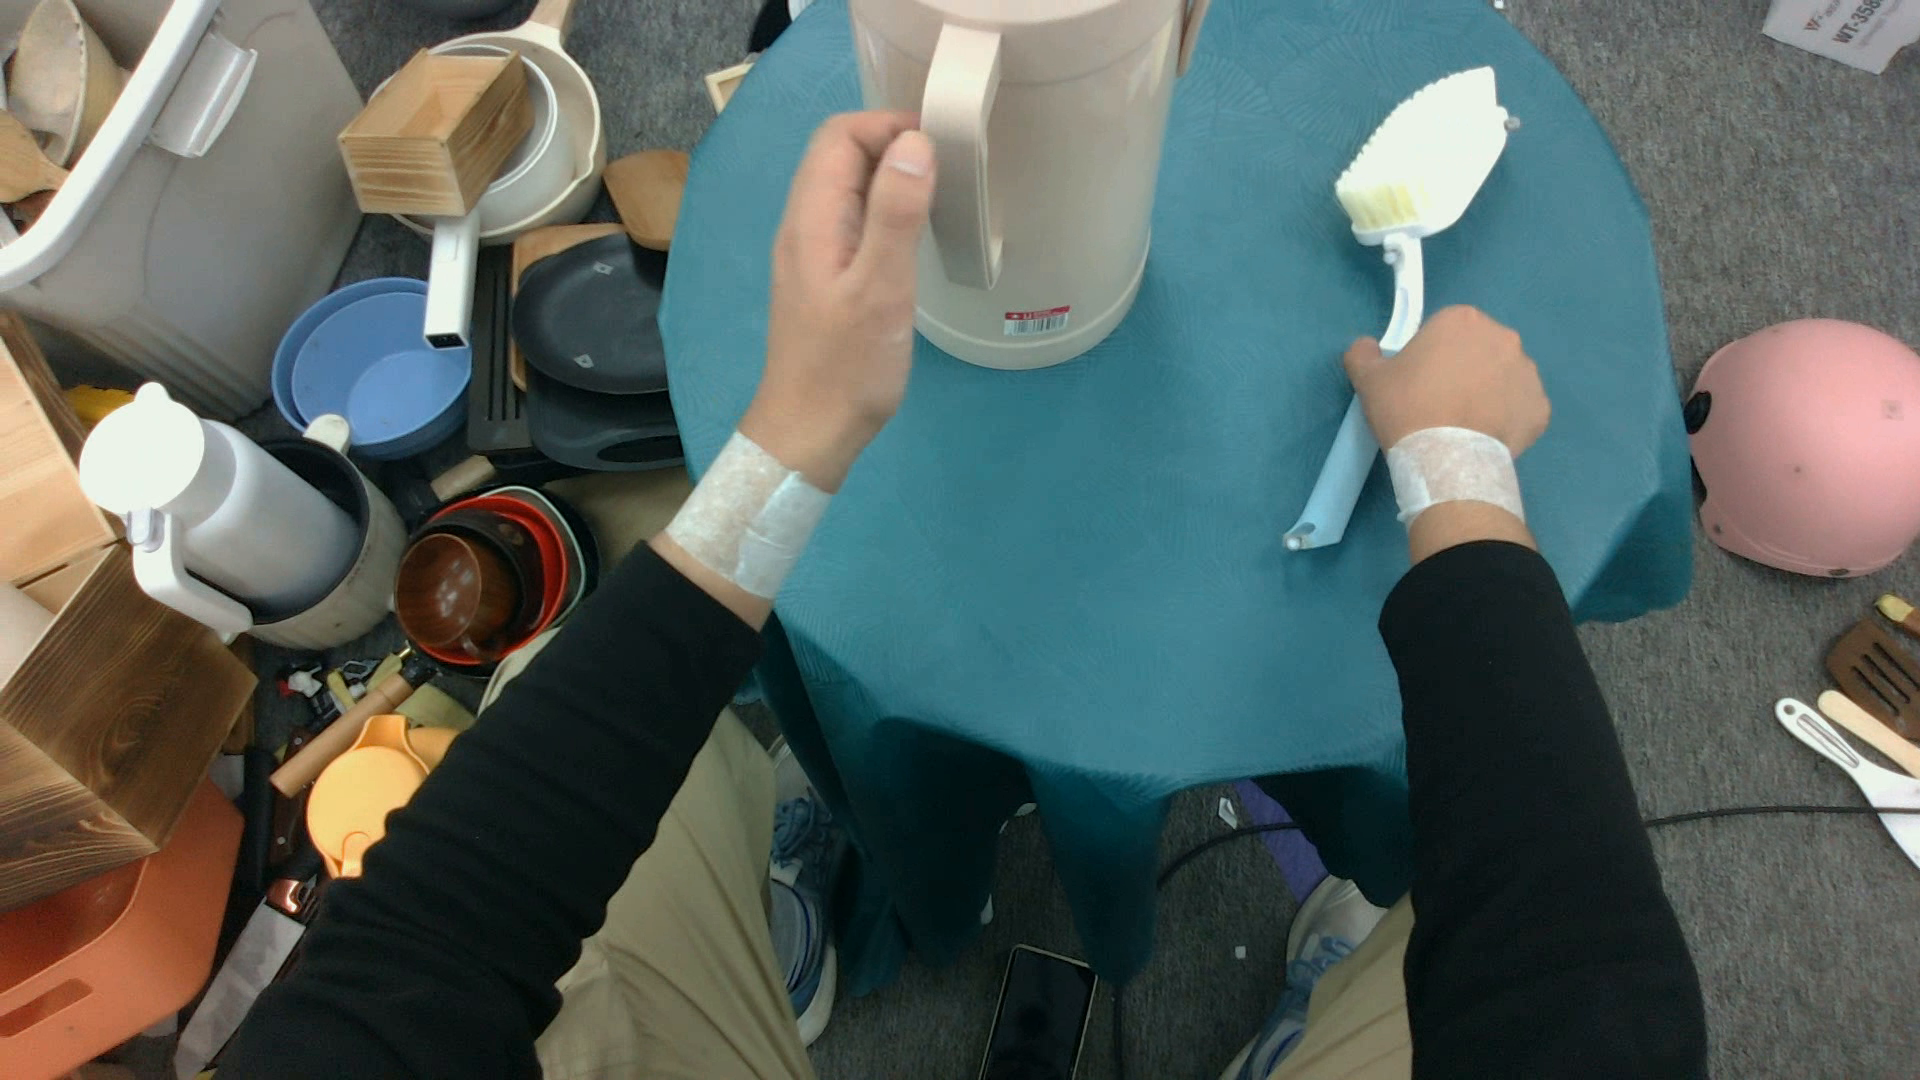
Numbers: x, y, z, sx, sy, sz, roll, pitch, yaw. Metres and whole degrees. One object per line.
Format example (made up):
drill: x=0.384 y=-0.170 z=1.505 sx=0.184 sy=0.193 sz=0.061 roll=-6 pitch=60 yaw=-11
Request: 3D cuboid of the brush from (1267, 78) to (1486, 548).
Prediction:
brush: x=0.227 y=-0.146 z=0.783 sx=0.084 sy=0.083 sz=0.326 roll=26 pitch=71 yaw=4

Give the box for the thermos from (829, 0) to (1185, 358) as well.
thermos: x=0.013 y=-0.232 z=0.650 sx=0.175 sy=0.405 sz=0.207 roll=13 pitch=71 yaw=4
